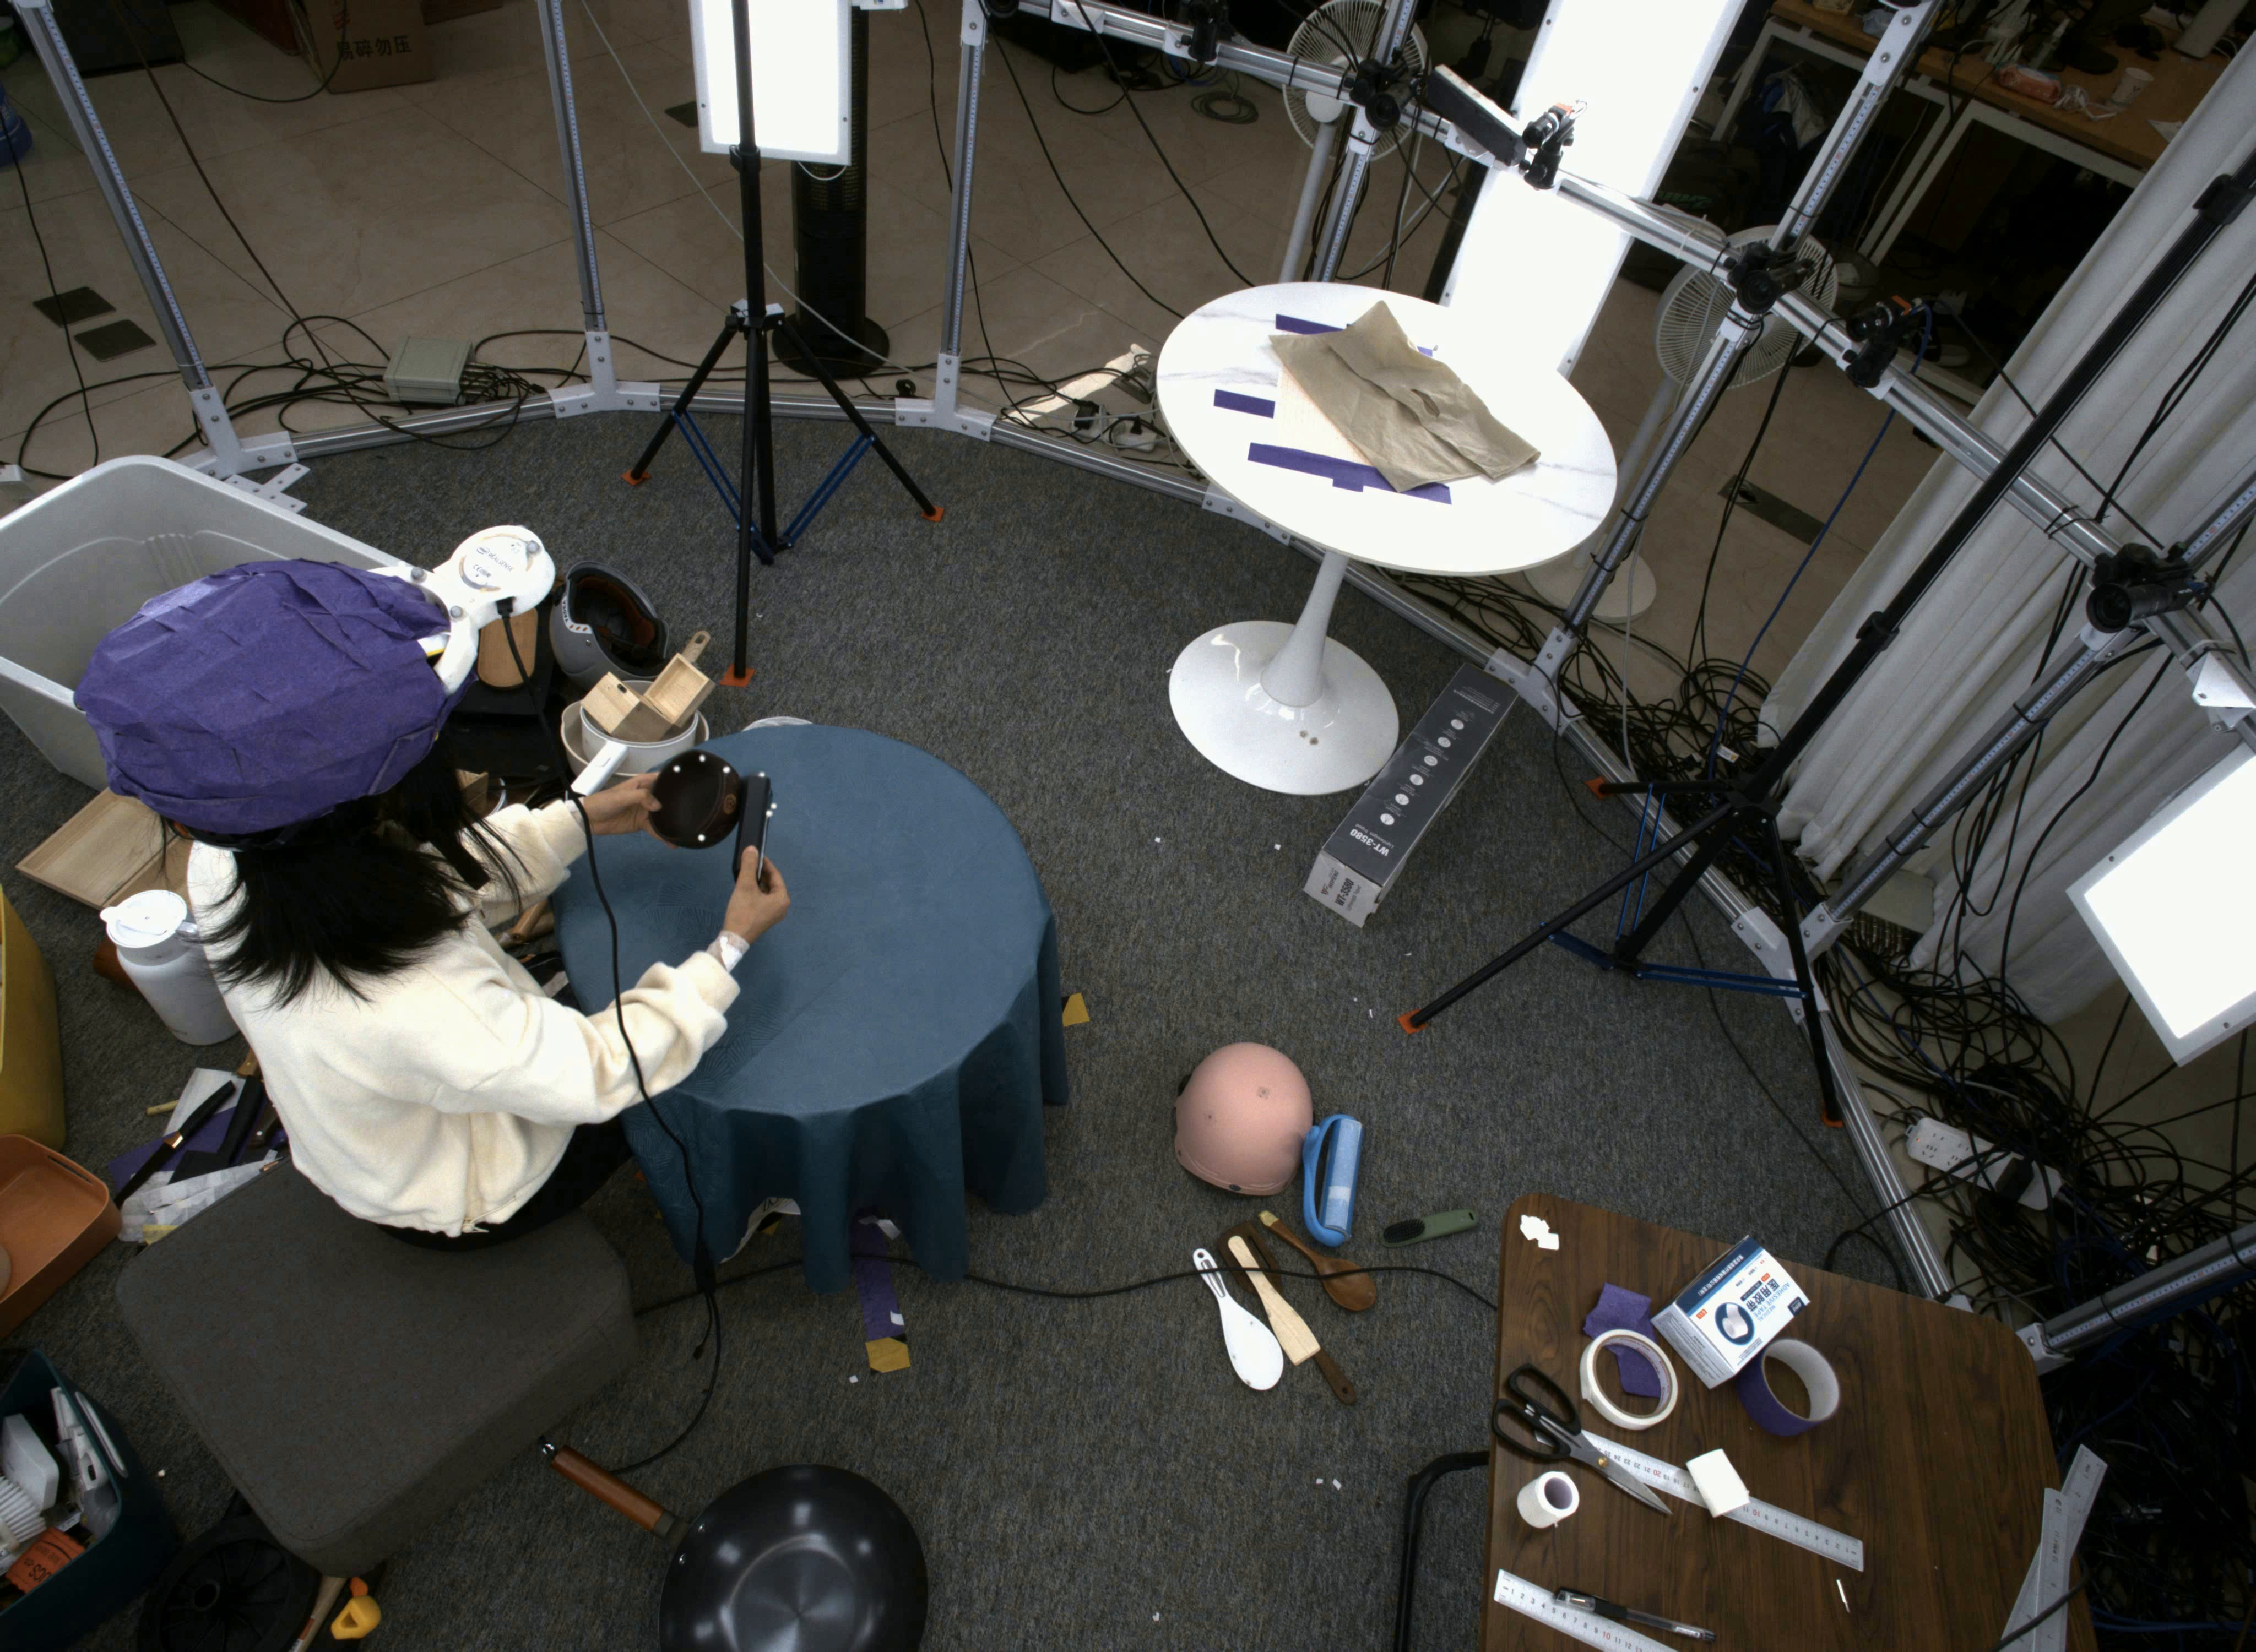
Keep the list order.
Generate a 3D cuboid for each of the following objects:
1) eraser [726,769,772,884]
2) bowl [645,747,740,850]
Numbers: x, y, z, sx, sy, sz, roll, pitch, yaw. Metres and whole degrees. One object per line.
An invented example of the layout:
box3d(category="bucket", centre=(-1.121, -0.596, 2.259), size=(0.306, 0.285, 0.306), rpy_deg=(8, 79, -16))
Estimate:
box3d(category="eraser", centre=(-0.444, -0.002, 1.516), size=(0.030, 0.054, 0.124), rpy_deg=(5, 66, -7))
box3d(category="bowl", centre=(-0.508, -0.028, 1.528), size=(0.115, 0.072, 0.117), rpy_deg=(-9, 70, 24))
